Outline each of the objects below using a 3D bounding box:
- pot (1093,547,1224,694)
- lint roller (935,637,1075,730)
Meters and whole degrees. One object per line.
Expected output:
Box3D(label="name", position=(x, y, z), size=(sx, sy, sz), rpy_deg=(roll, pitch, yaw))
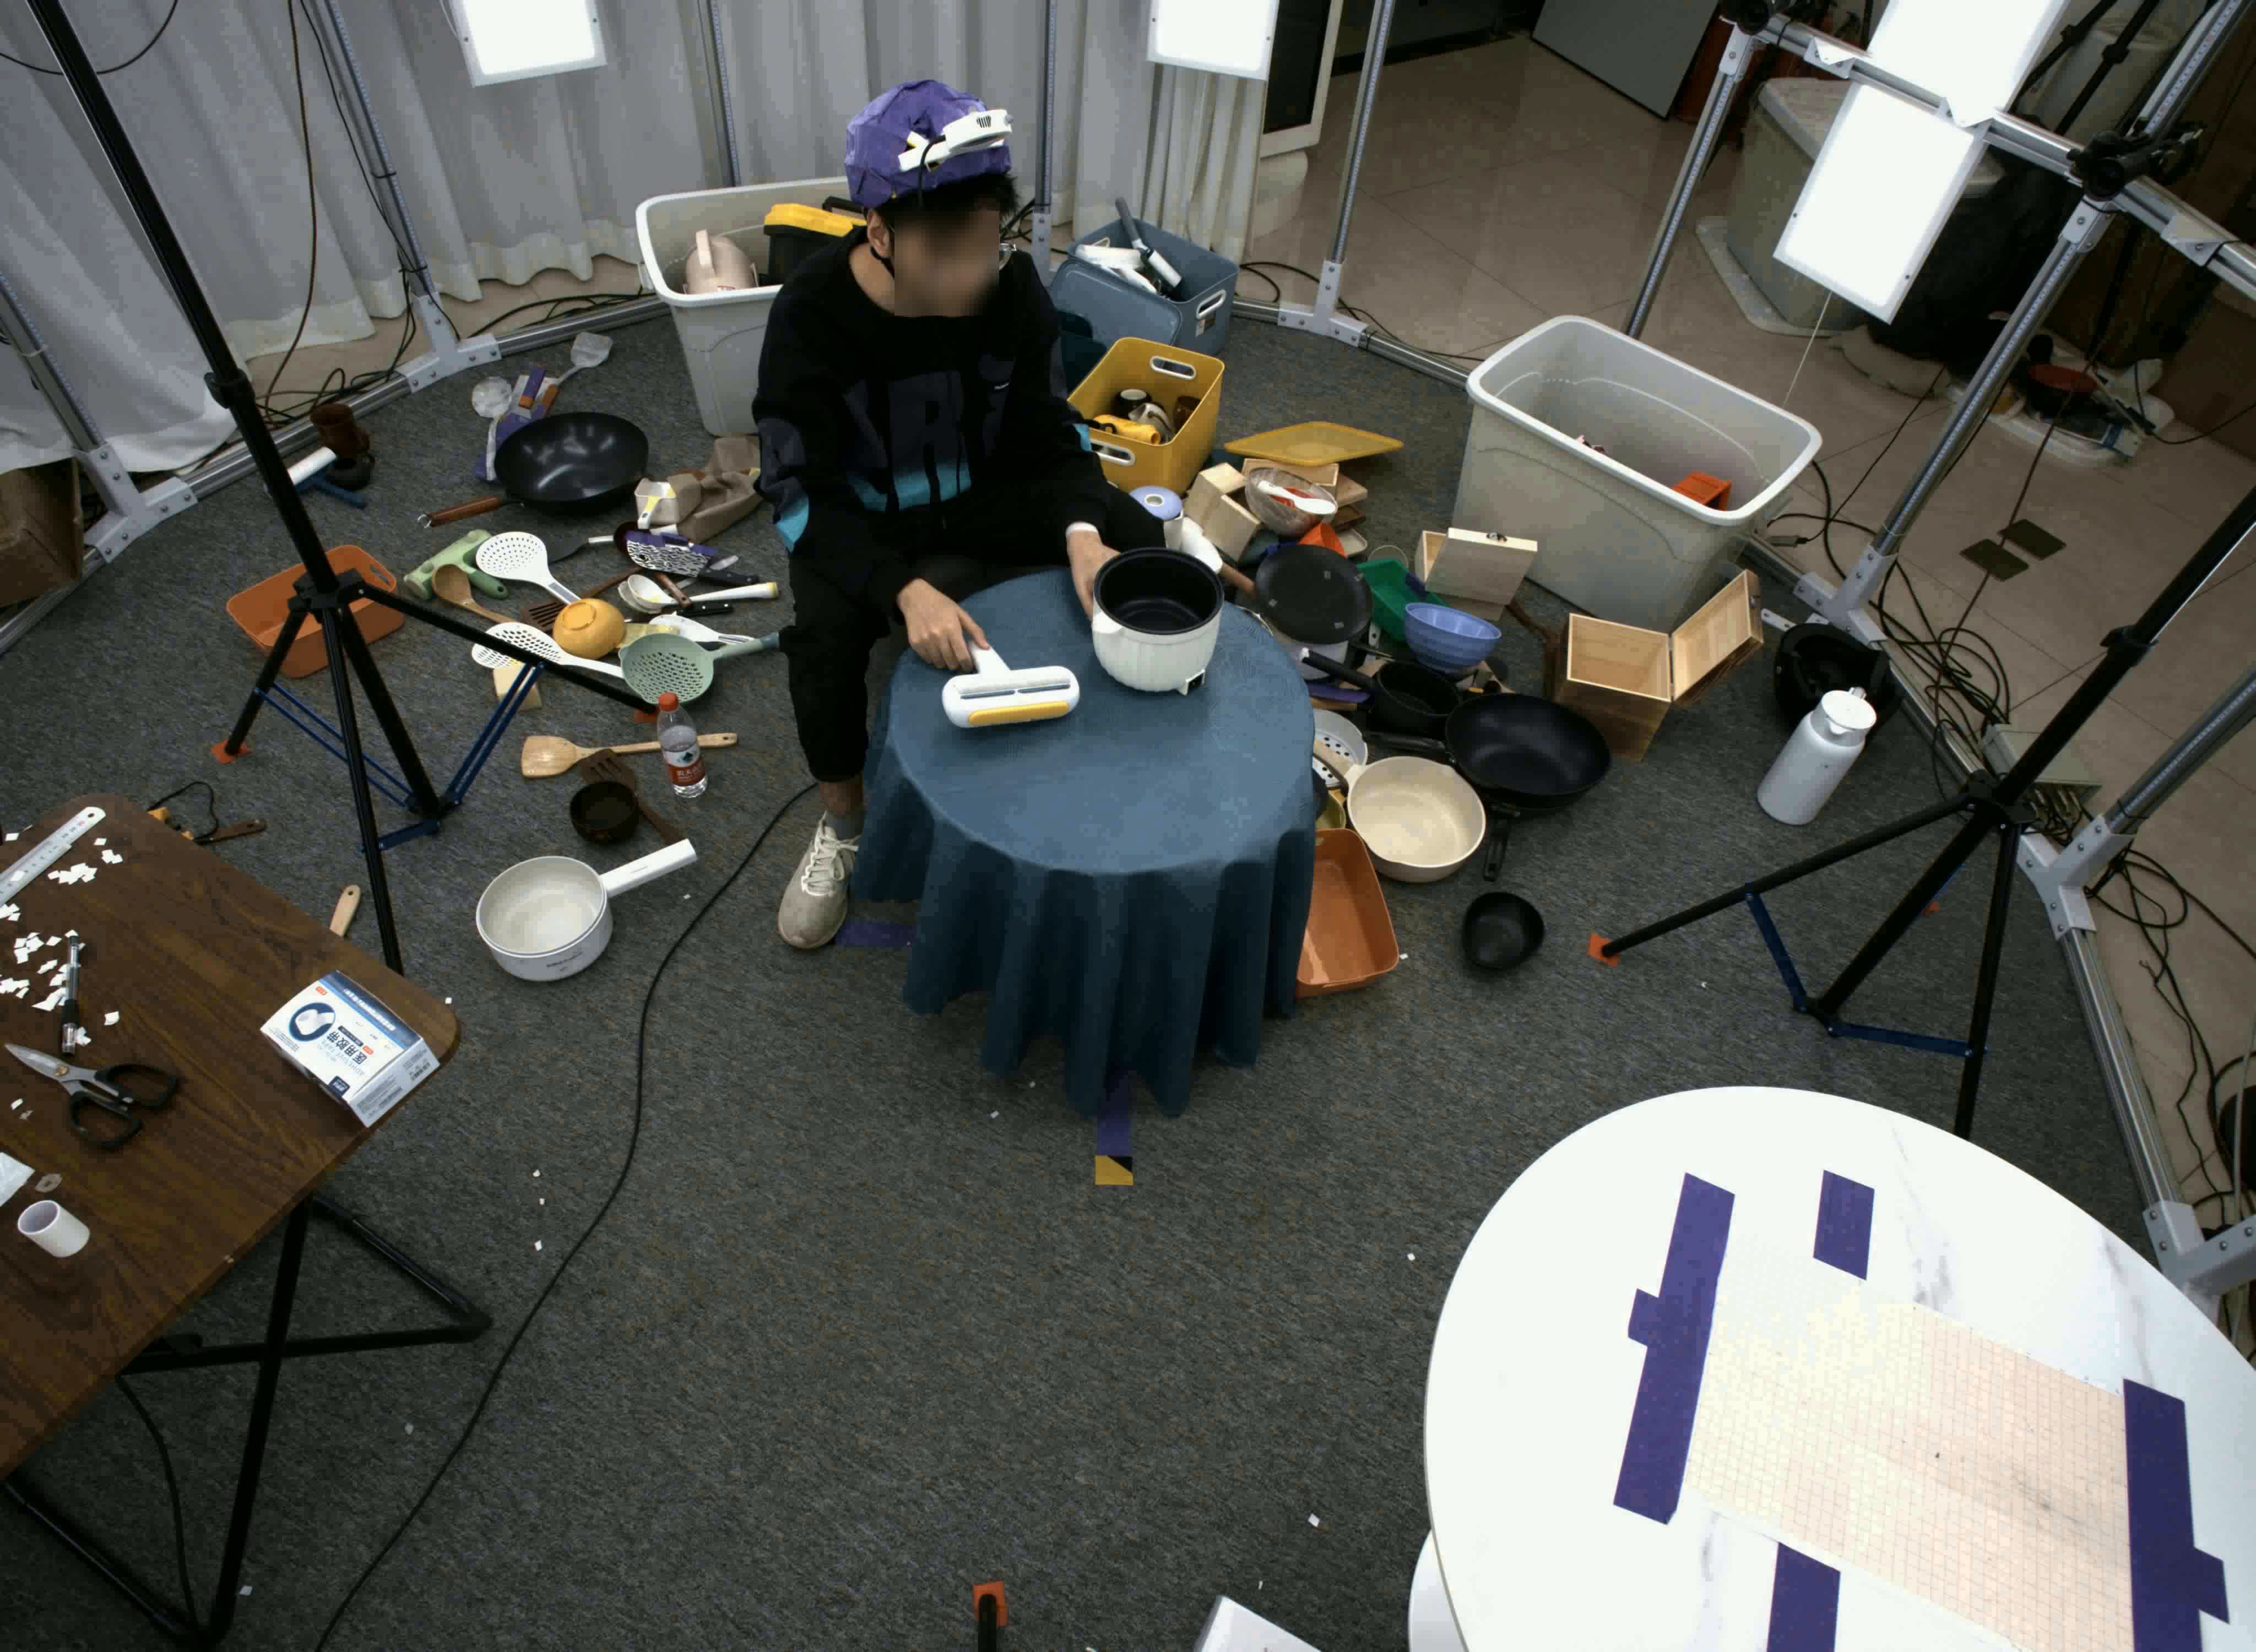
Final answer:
Box3D(label="pot", position=(0.034, -0.290, 1.831), size=(0.242, 0.139, 0.193), rpy_deg=(-35, 62, -30))
Box3D(label="lint roller", position=(-0.186, -0.213, 1.797), size=(0.192, 0.072, 0.197), rpy_deg=(-9, 49, -18))
